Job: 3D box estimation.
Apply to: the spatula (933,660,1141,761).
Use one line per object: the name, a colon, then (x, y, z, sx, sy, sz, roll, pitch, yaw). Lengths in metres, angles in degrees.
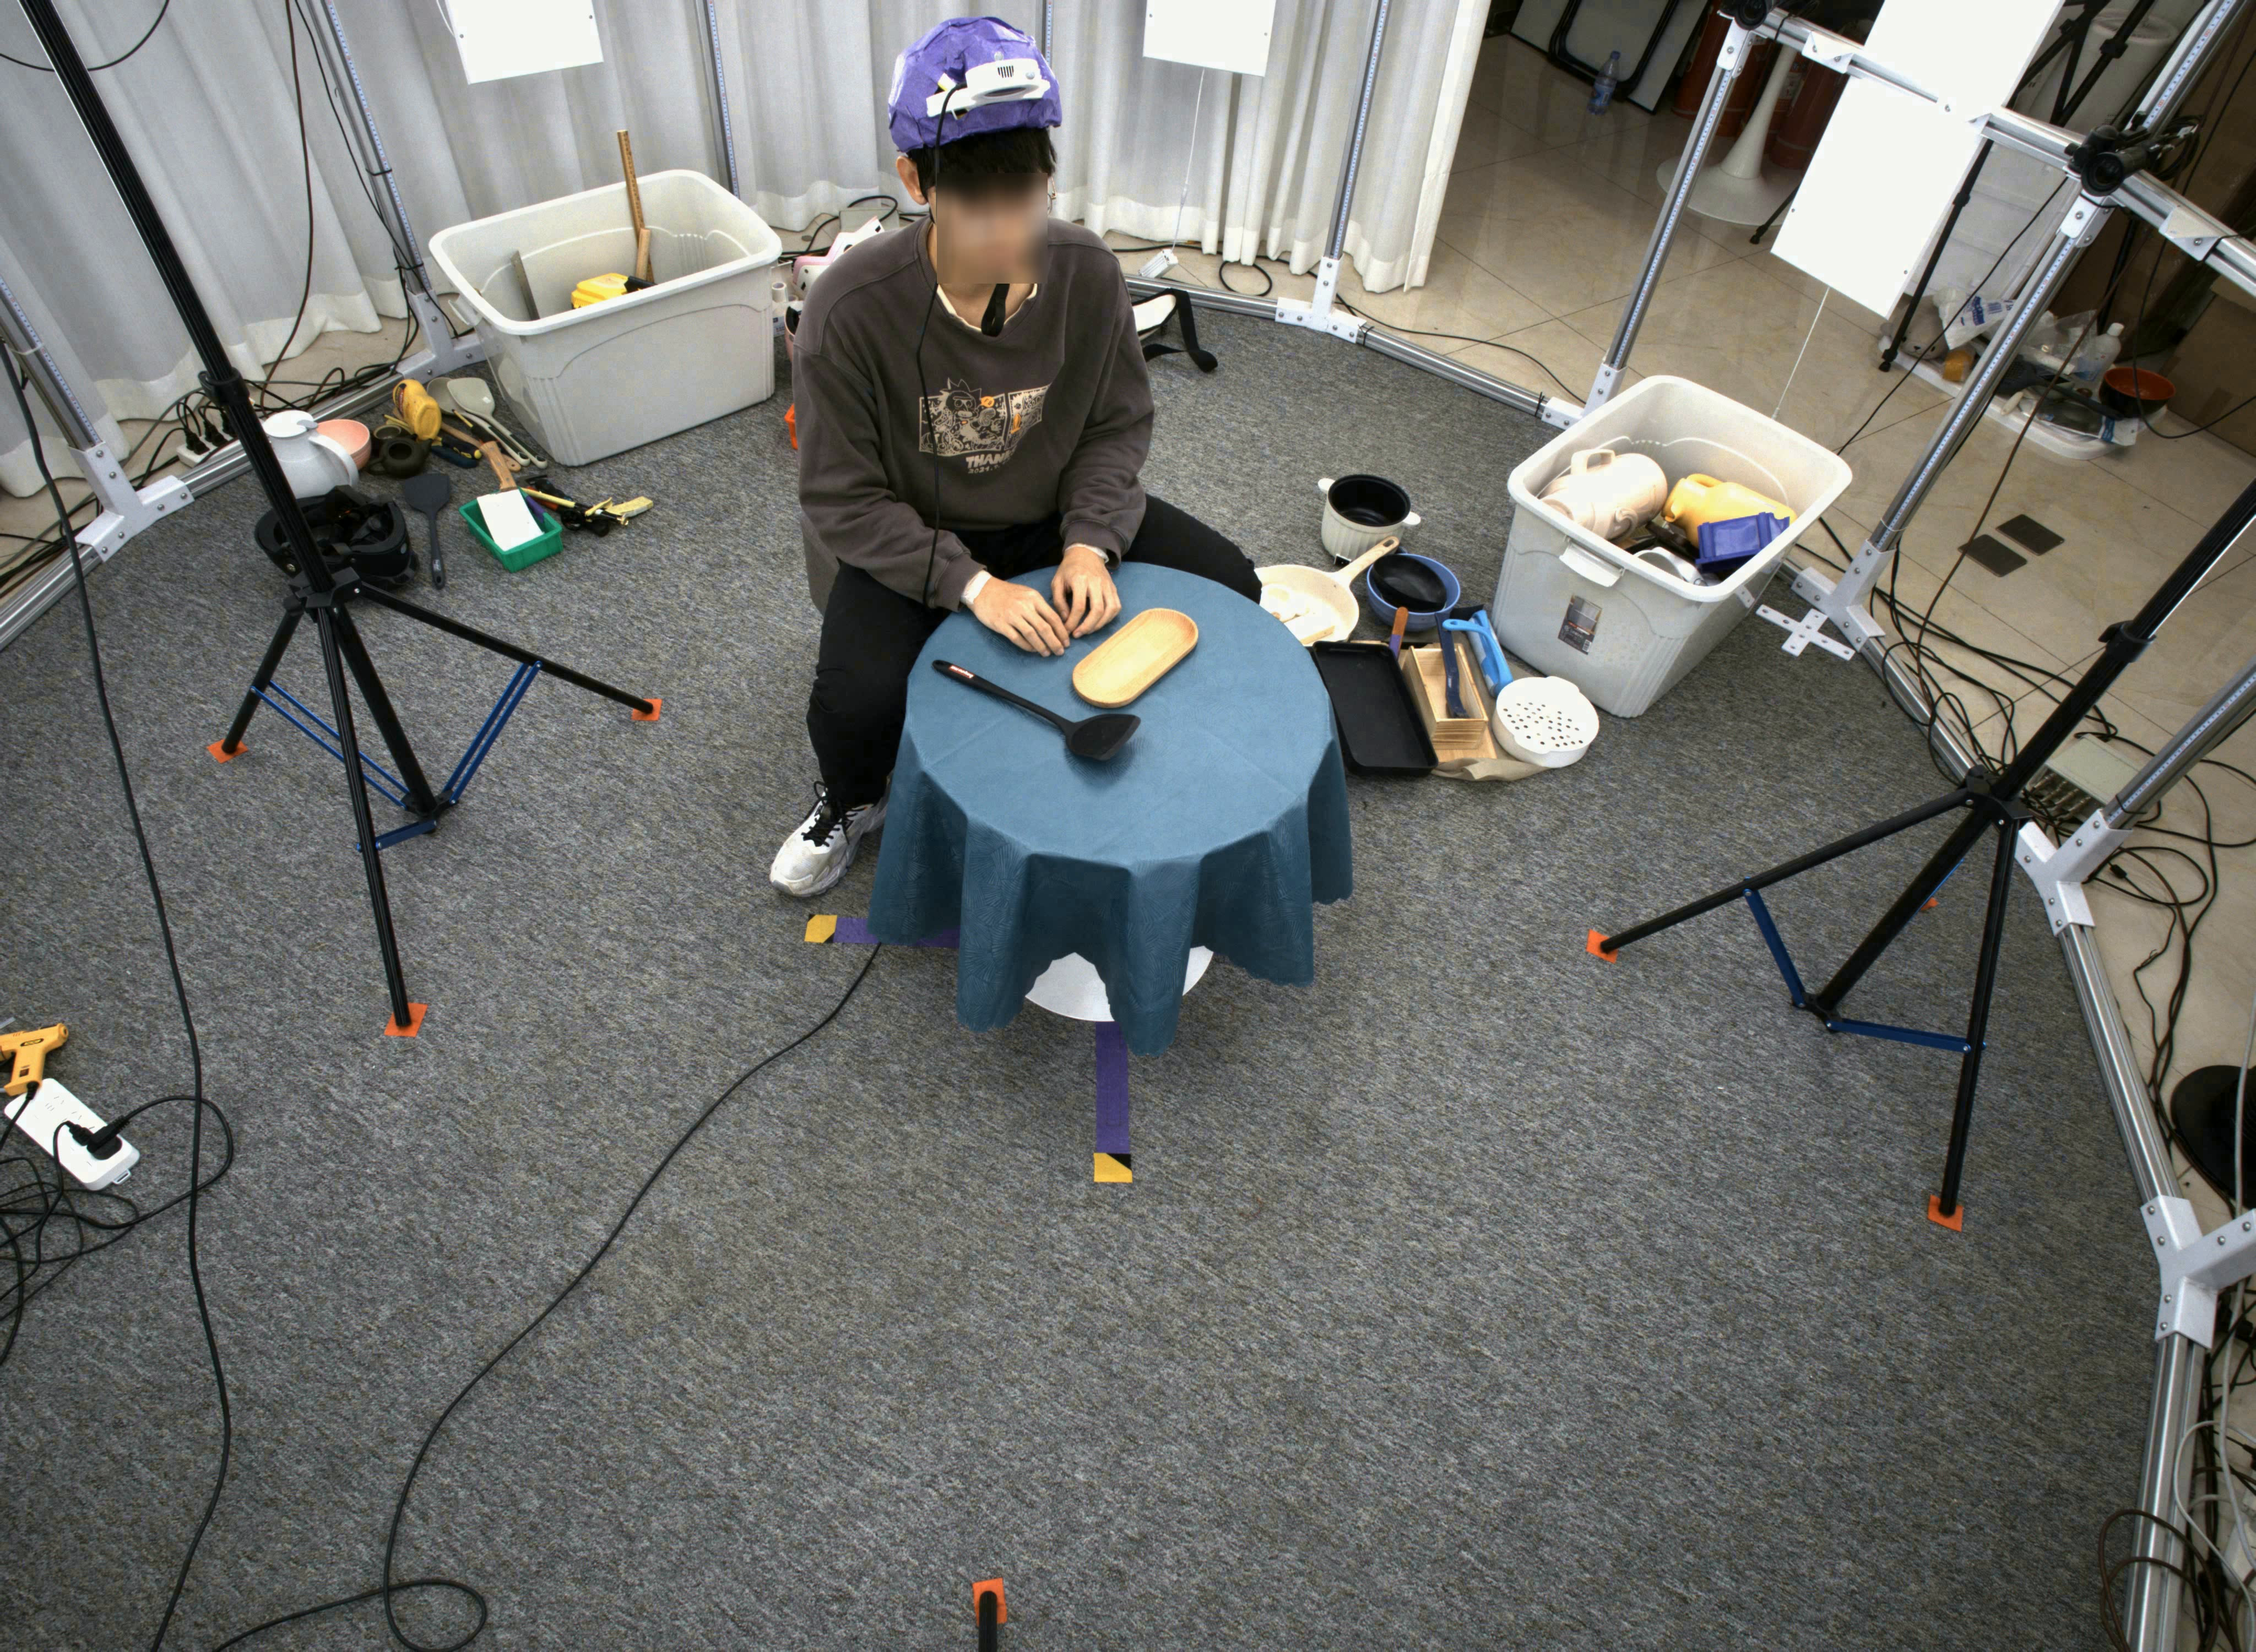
spatula: (-0.139, -0.173, 1.784, 0.329, 0.039, 0.101, 27, 52, 19)

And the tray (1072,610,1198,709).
tray: (0.012, -0.243, 1.868, 0.103, 0.020, 0.234, 32, 55, 23)
